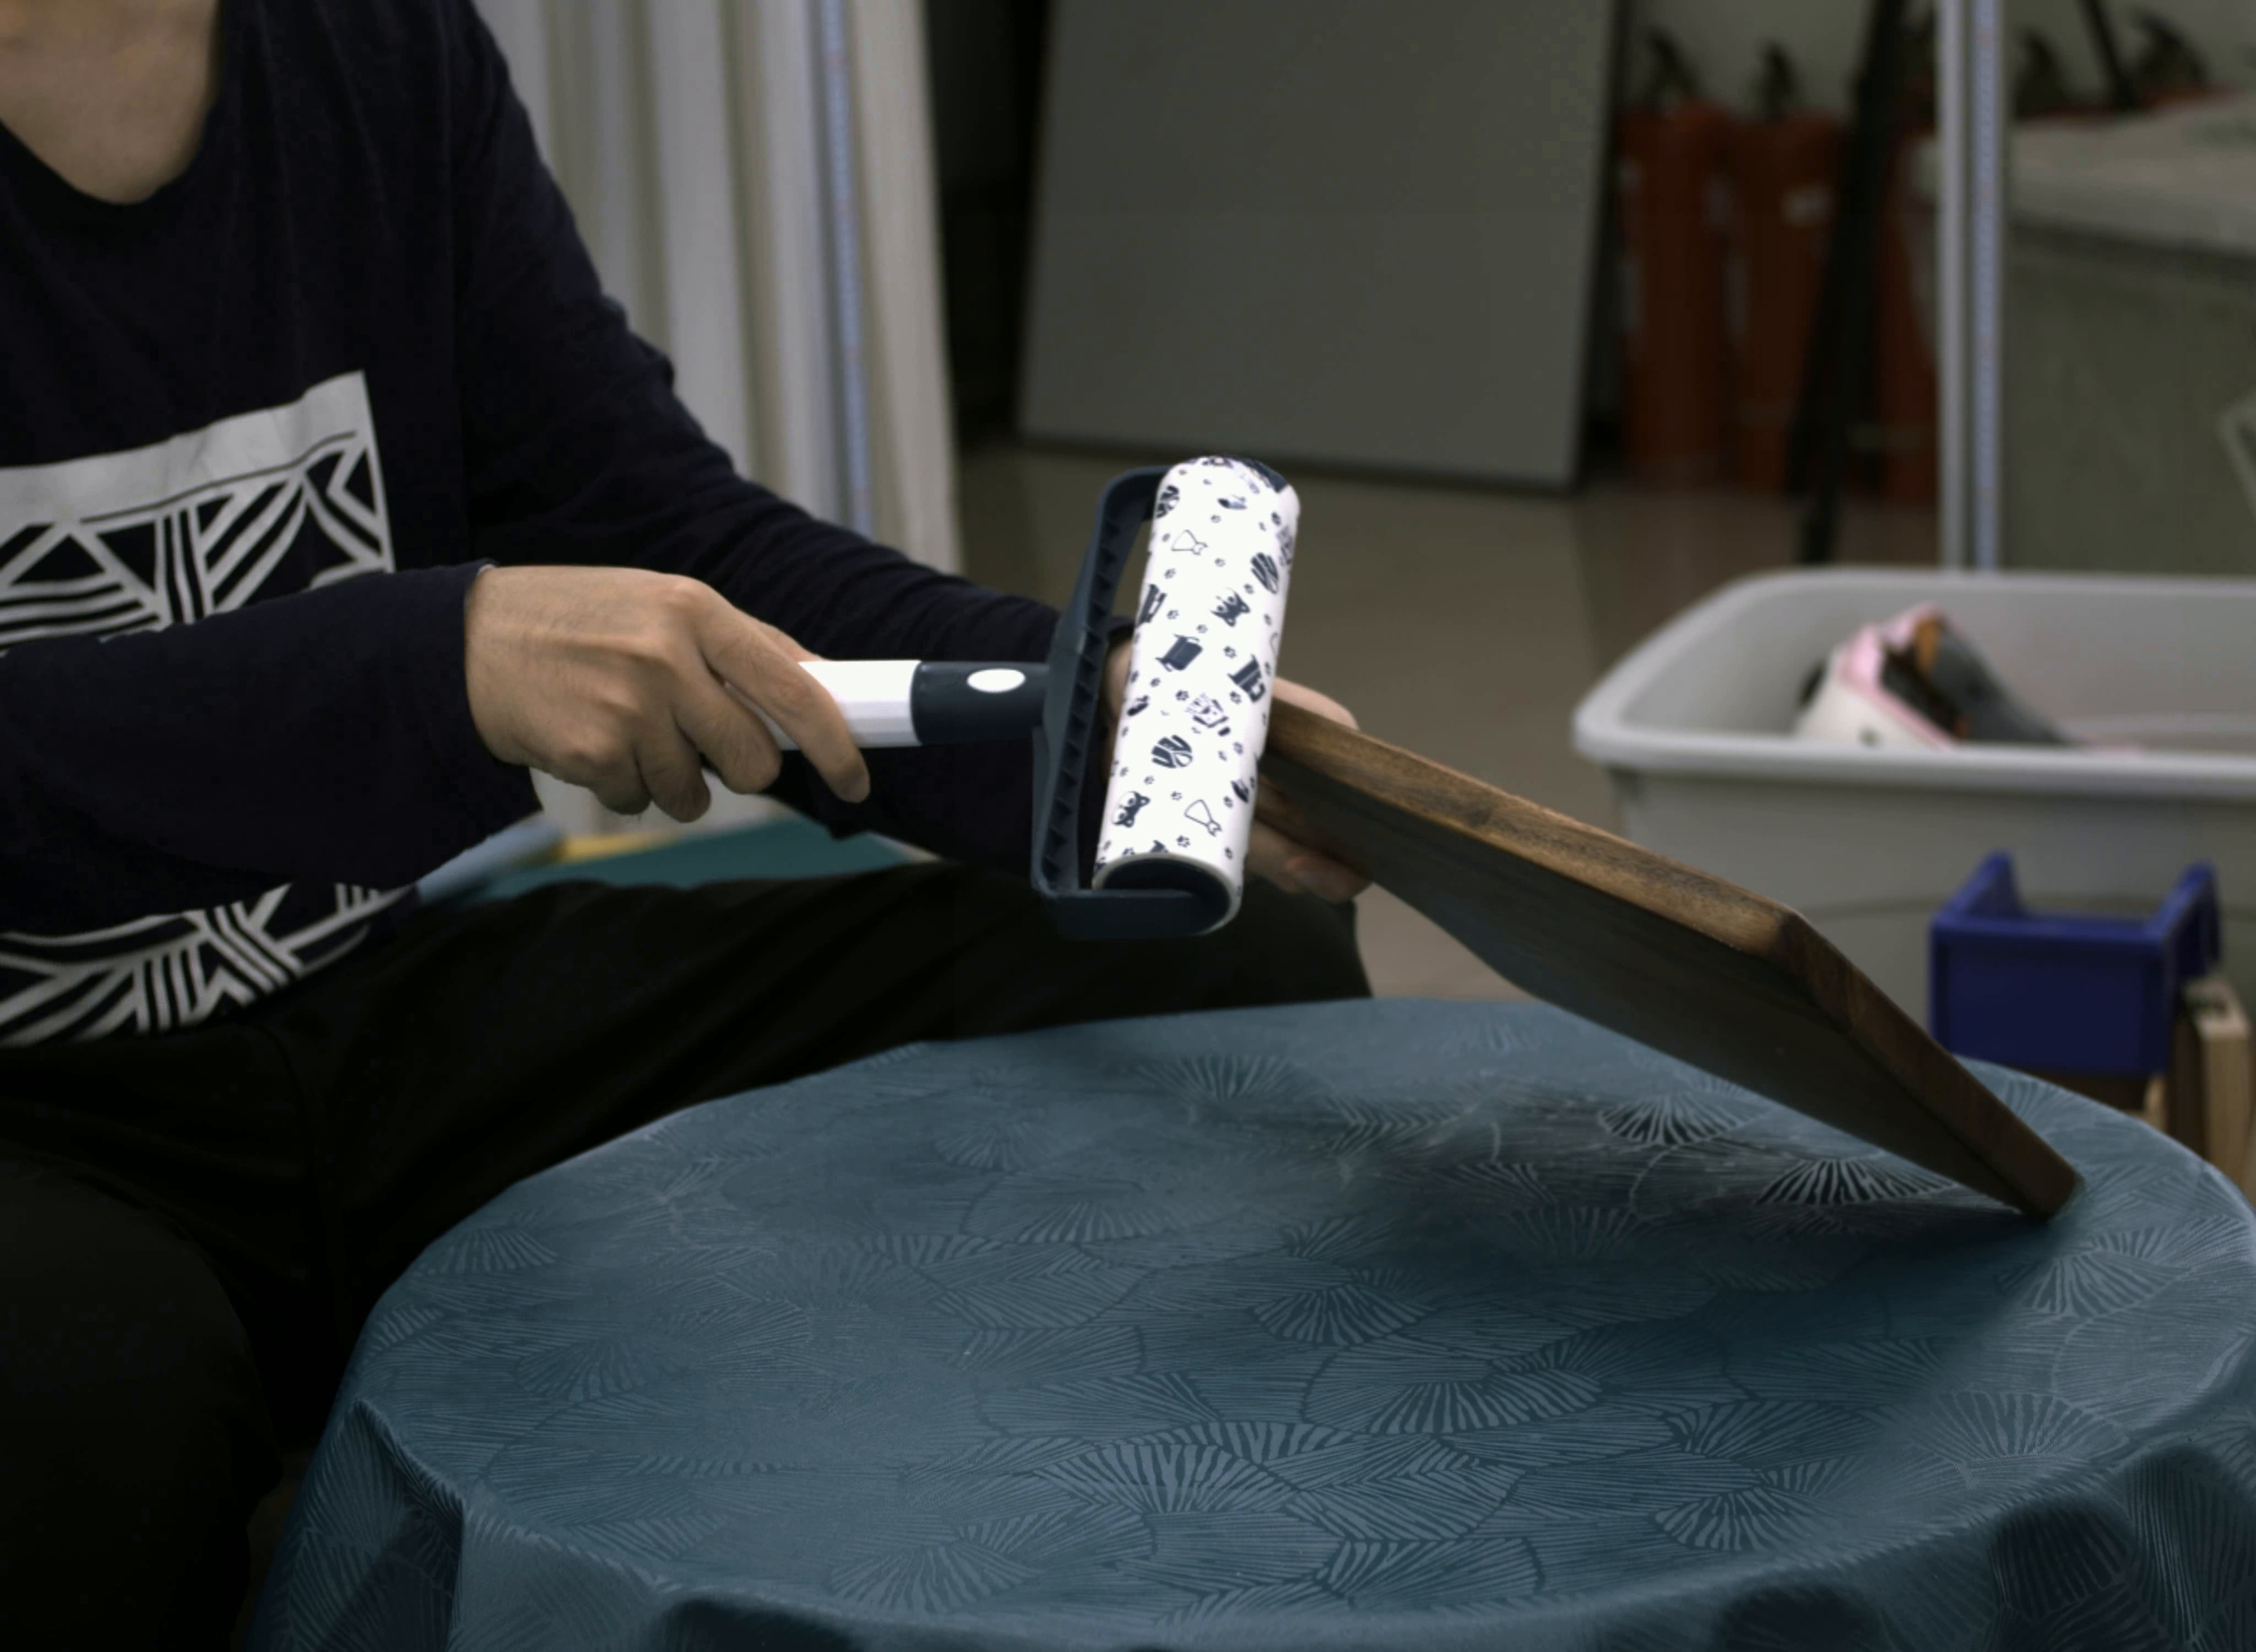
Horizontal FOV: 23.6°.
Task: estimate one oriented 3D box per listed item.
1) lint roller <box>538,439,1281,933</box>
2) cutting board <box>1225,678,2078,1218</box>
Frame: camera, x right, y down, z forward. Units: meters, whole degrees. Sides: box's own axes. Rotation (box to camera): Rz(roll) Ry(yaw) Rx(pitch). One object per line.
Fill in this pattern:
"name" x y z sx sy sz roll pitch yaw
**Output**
"lint roller" -0.077 -0.040 1.736 0.246 0.050 0.177 -3 54 16
"cutting board" 0.132 0.025 1.741 0.356 0.023 0.198 23 -13 46
